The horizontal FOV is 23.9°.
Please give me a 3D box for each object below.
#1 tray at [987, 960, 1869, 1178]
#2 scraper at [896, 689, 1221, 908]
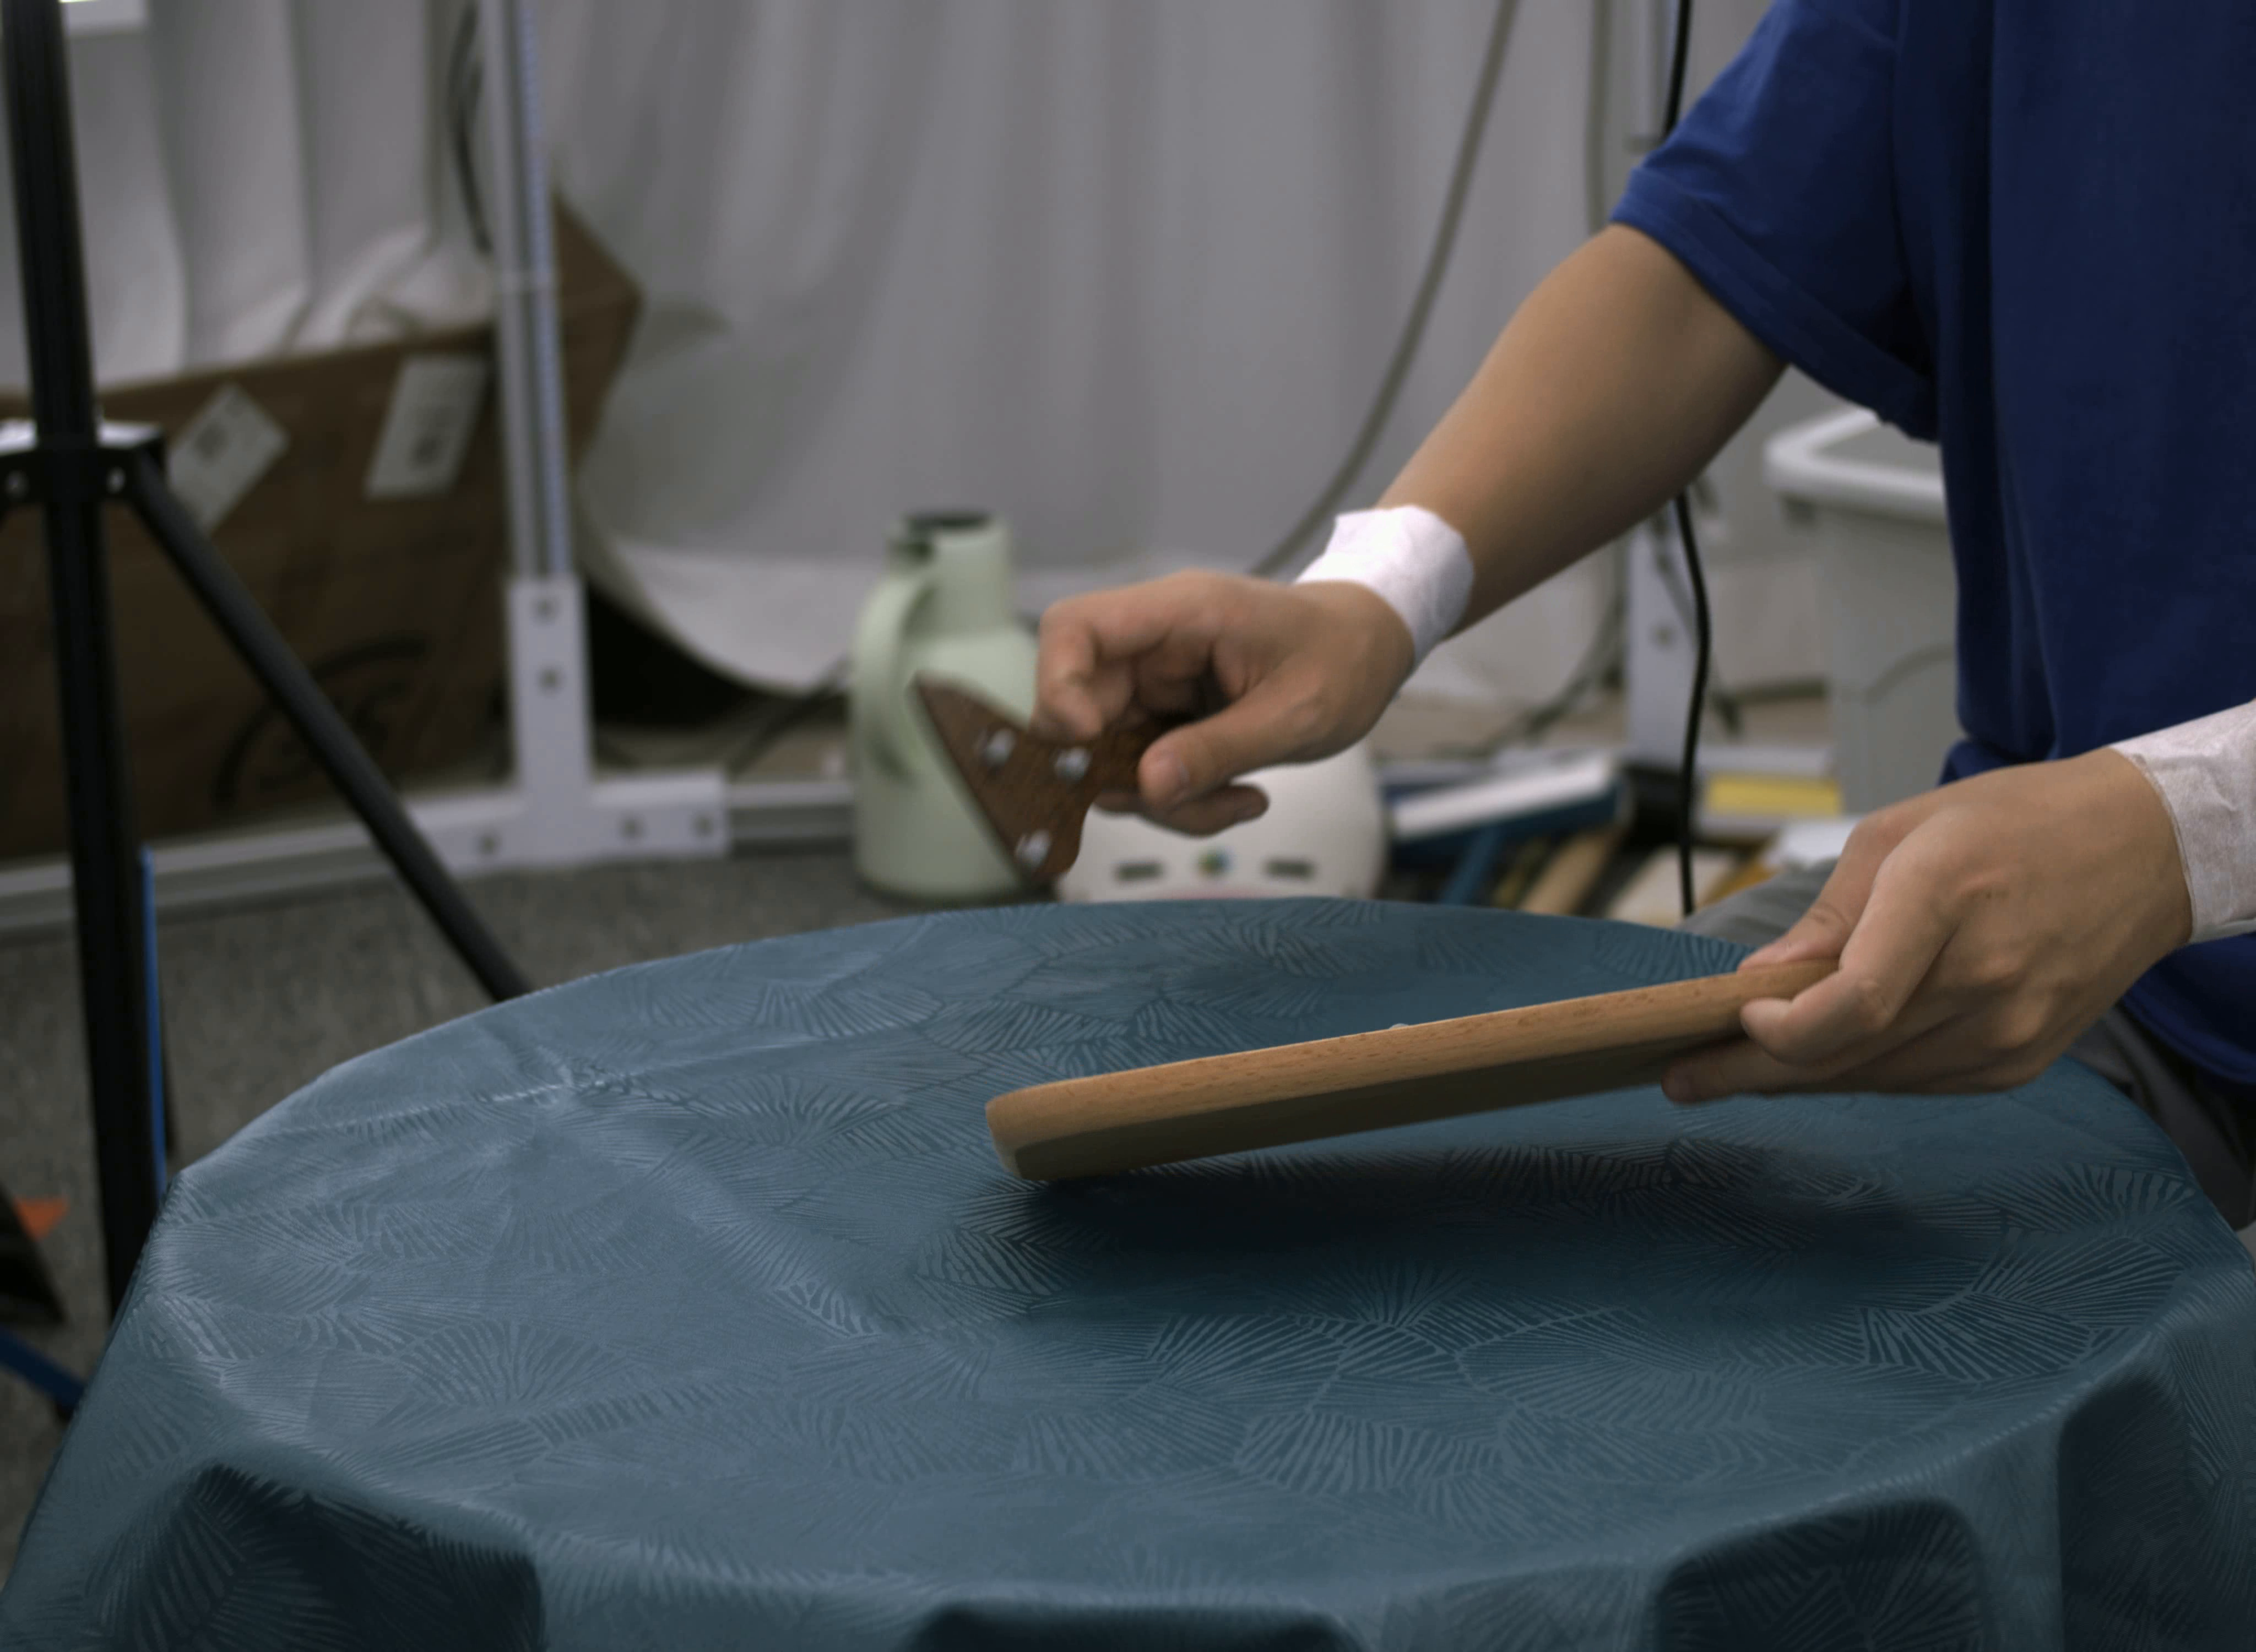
[{"bbox_3d":[0.085,0.071,1.519,0.250,0.023,0.130,-8,-8,2],"label":"tray"},{"bbox_3d":[-0.015,-0.014,1.684,0.011,0.076,0.207,-36,-10,22],"label":"scraper"}]
